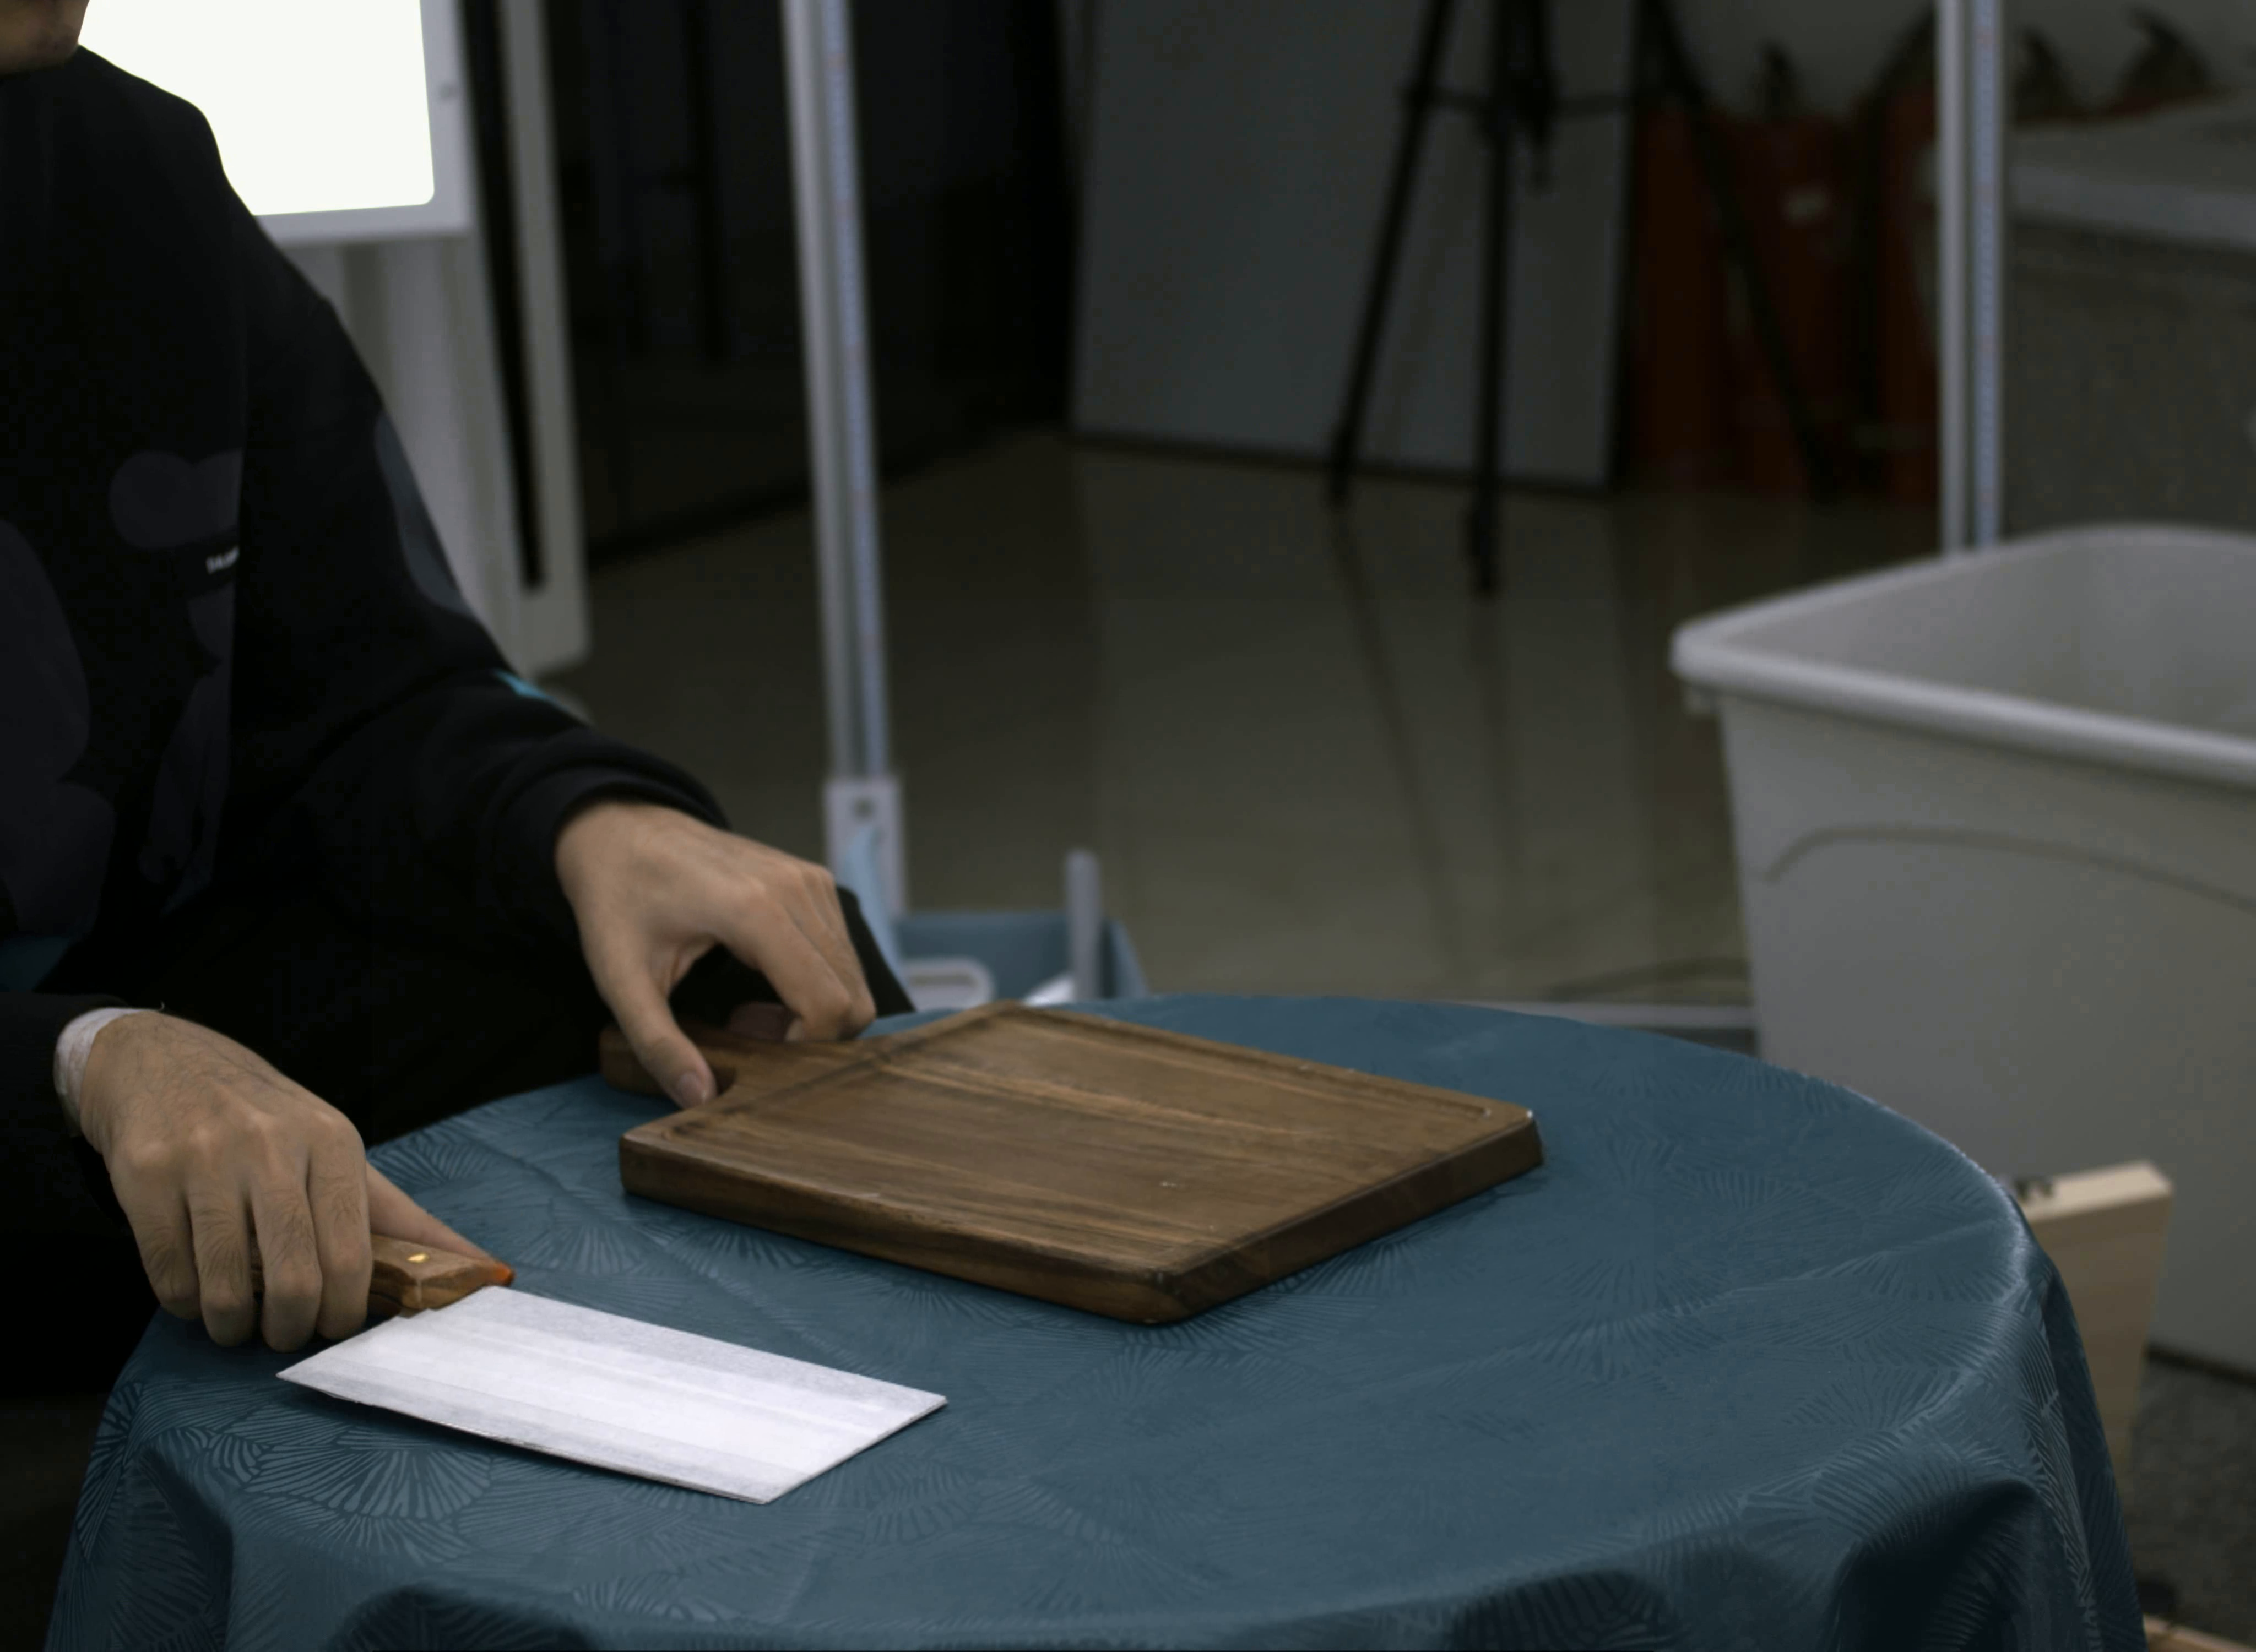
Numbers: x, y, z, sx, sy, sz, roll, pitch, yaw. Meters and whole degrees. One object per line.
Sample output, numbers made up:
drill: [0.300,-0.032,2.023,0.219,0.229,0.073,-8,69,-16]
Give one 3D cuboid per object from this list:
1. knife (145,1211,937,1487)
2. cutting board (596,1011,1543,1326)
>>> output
knife: [-0.199,0.161,1.640,0.308,0.021,0.091,9,20,36]
cutting board: [-0.052,0.103,1.816,0.355,0.023,0.197,8,19,42]
